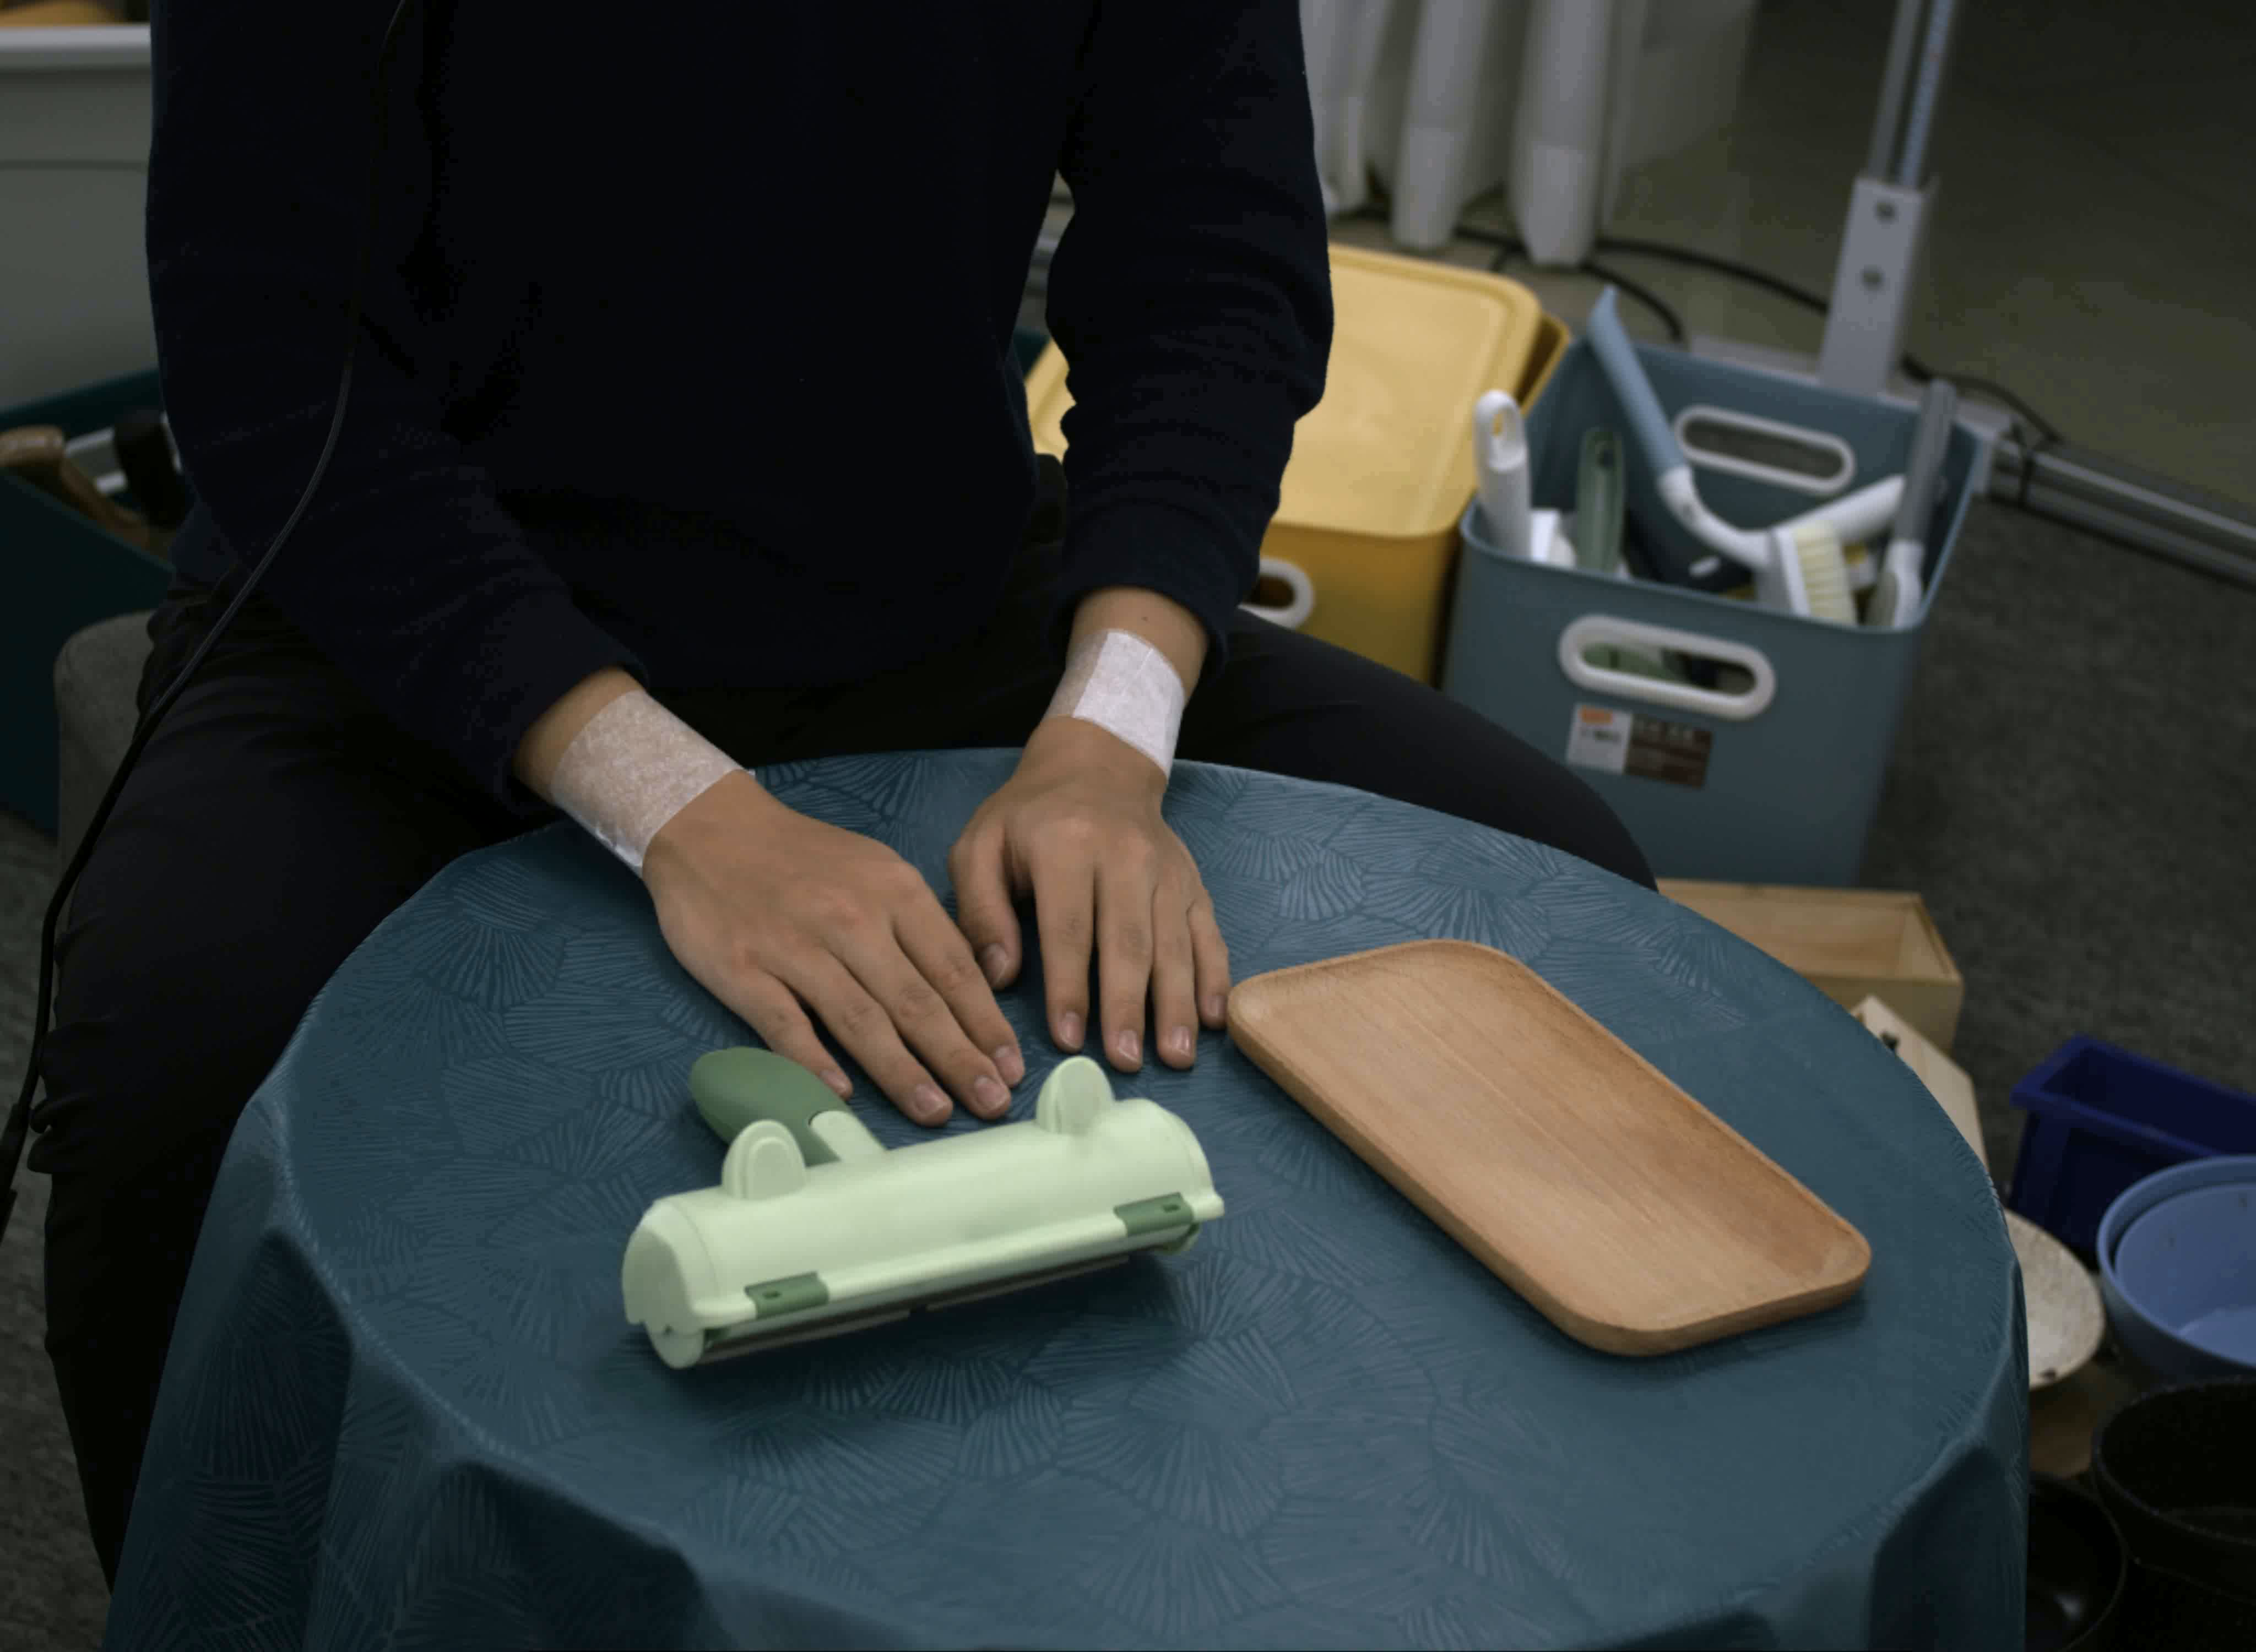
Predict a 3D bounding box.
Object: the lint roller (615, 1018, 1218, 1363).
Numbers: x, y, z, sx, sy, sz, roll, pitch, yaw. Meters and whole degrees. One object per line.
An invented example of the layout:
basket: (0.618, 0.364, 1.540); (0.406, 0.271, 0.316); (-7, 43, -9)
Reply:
lint roller: (-0.095, 0.093, 1.745); (0.197, 0.082, 0.185); (-10, 37, -31)

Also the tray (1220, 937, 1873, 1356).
tray: (0.141, 0.108, 1.846); (0.129, 0.023, 0.253); (-8, 30, -31)
